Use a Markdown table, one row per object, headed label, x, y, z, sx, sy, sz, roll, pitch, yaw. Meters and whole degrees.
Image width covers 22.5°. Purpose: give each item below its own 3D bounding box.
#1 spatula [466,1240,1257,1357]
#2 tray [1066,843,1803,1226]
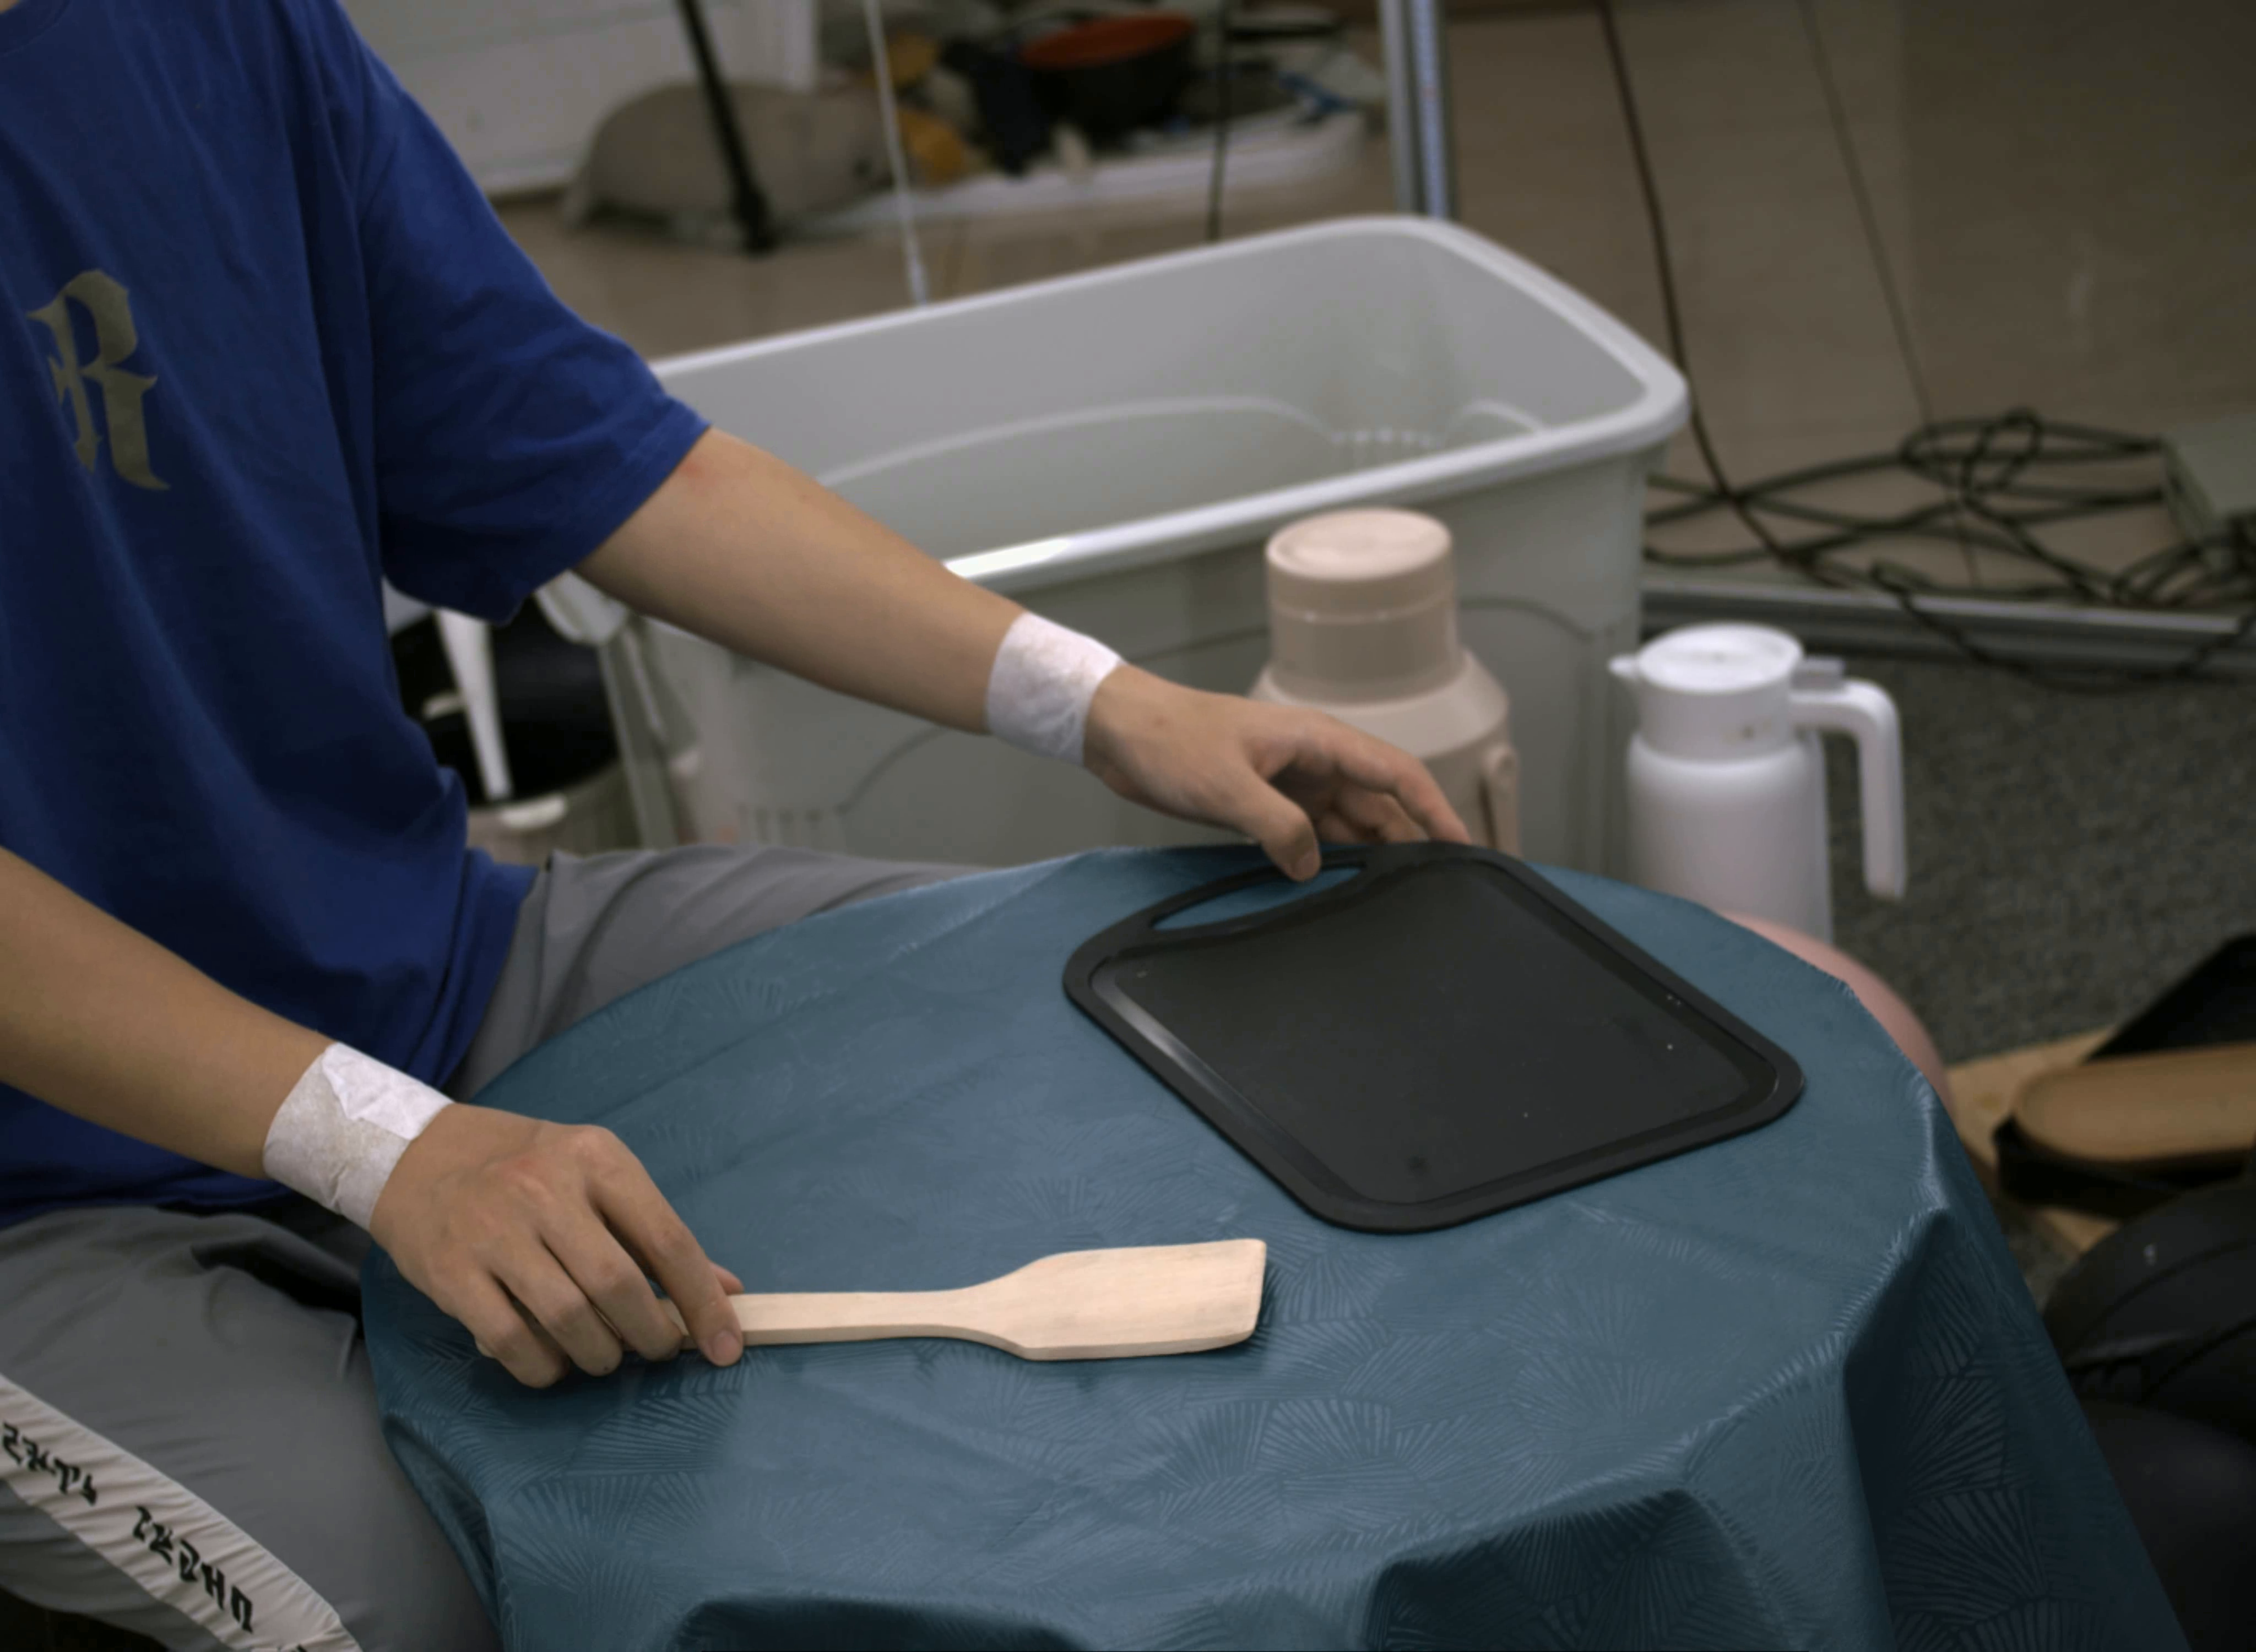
| label | x | y | z | sx | sy | sz | roll | pitch | yaw |
| --- | --- | --- | --- | --- | --- | --- | --- | --- | --- |
| spatula | -0.099 | 0.178 | 2.076 | 0.292 | 0.011 | 0.071 | -3 | 26 | 7 |
| tray | 0.111 | 0.075 | 2.249 | 0.210 | 0.010 | 0.321 | -16 | 26 | -19 |
